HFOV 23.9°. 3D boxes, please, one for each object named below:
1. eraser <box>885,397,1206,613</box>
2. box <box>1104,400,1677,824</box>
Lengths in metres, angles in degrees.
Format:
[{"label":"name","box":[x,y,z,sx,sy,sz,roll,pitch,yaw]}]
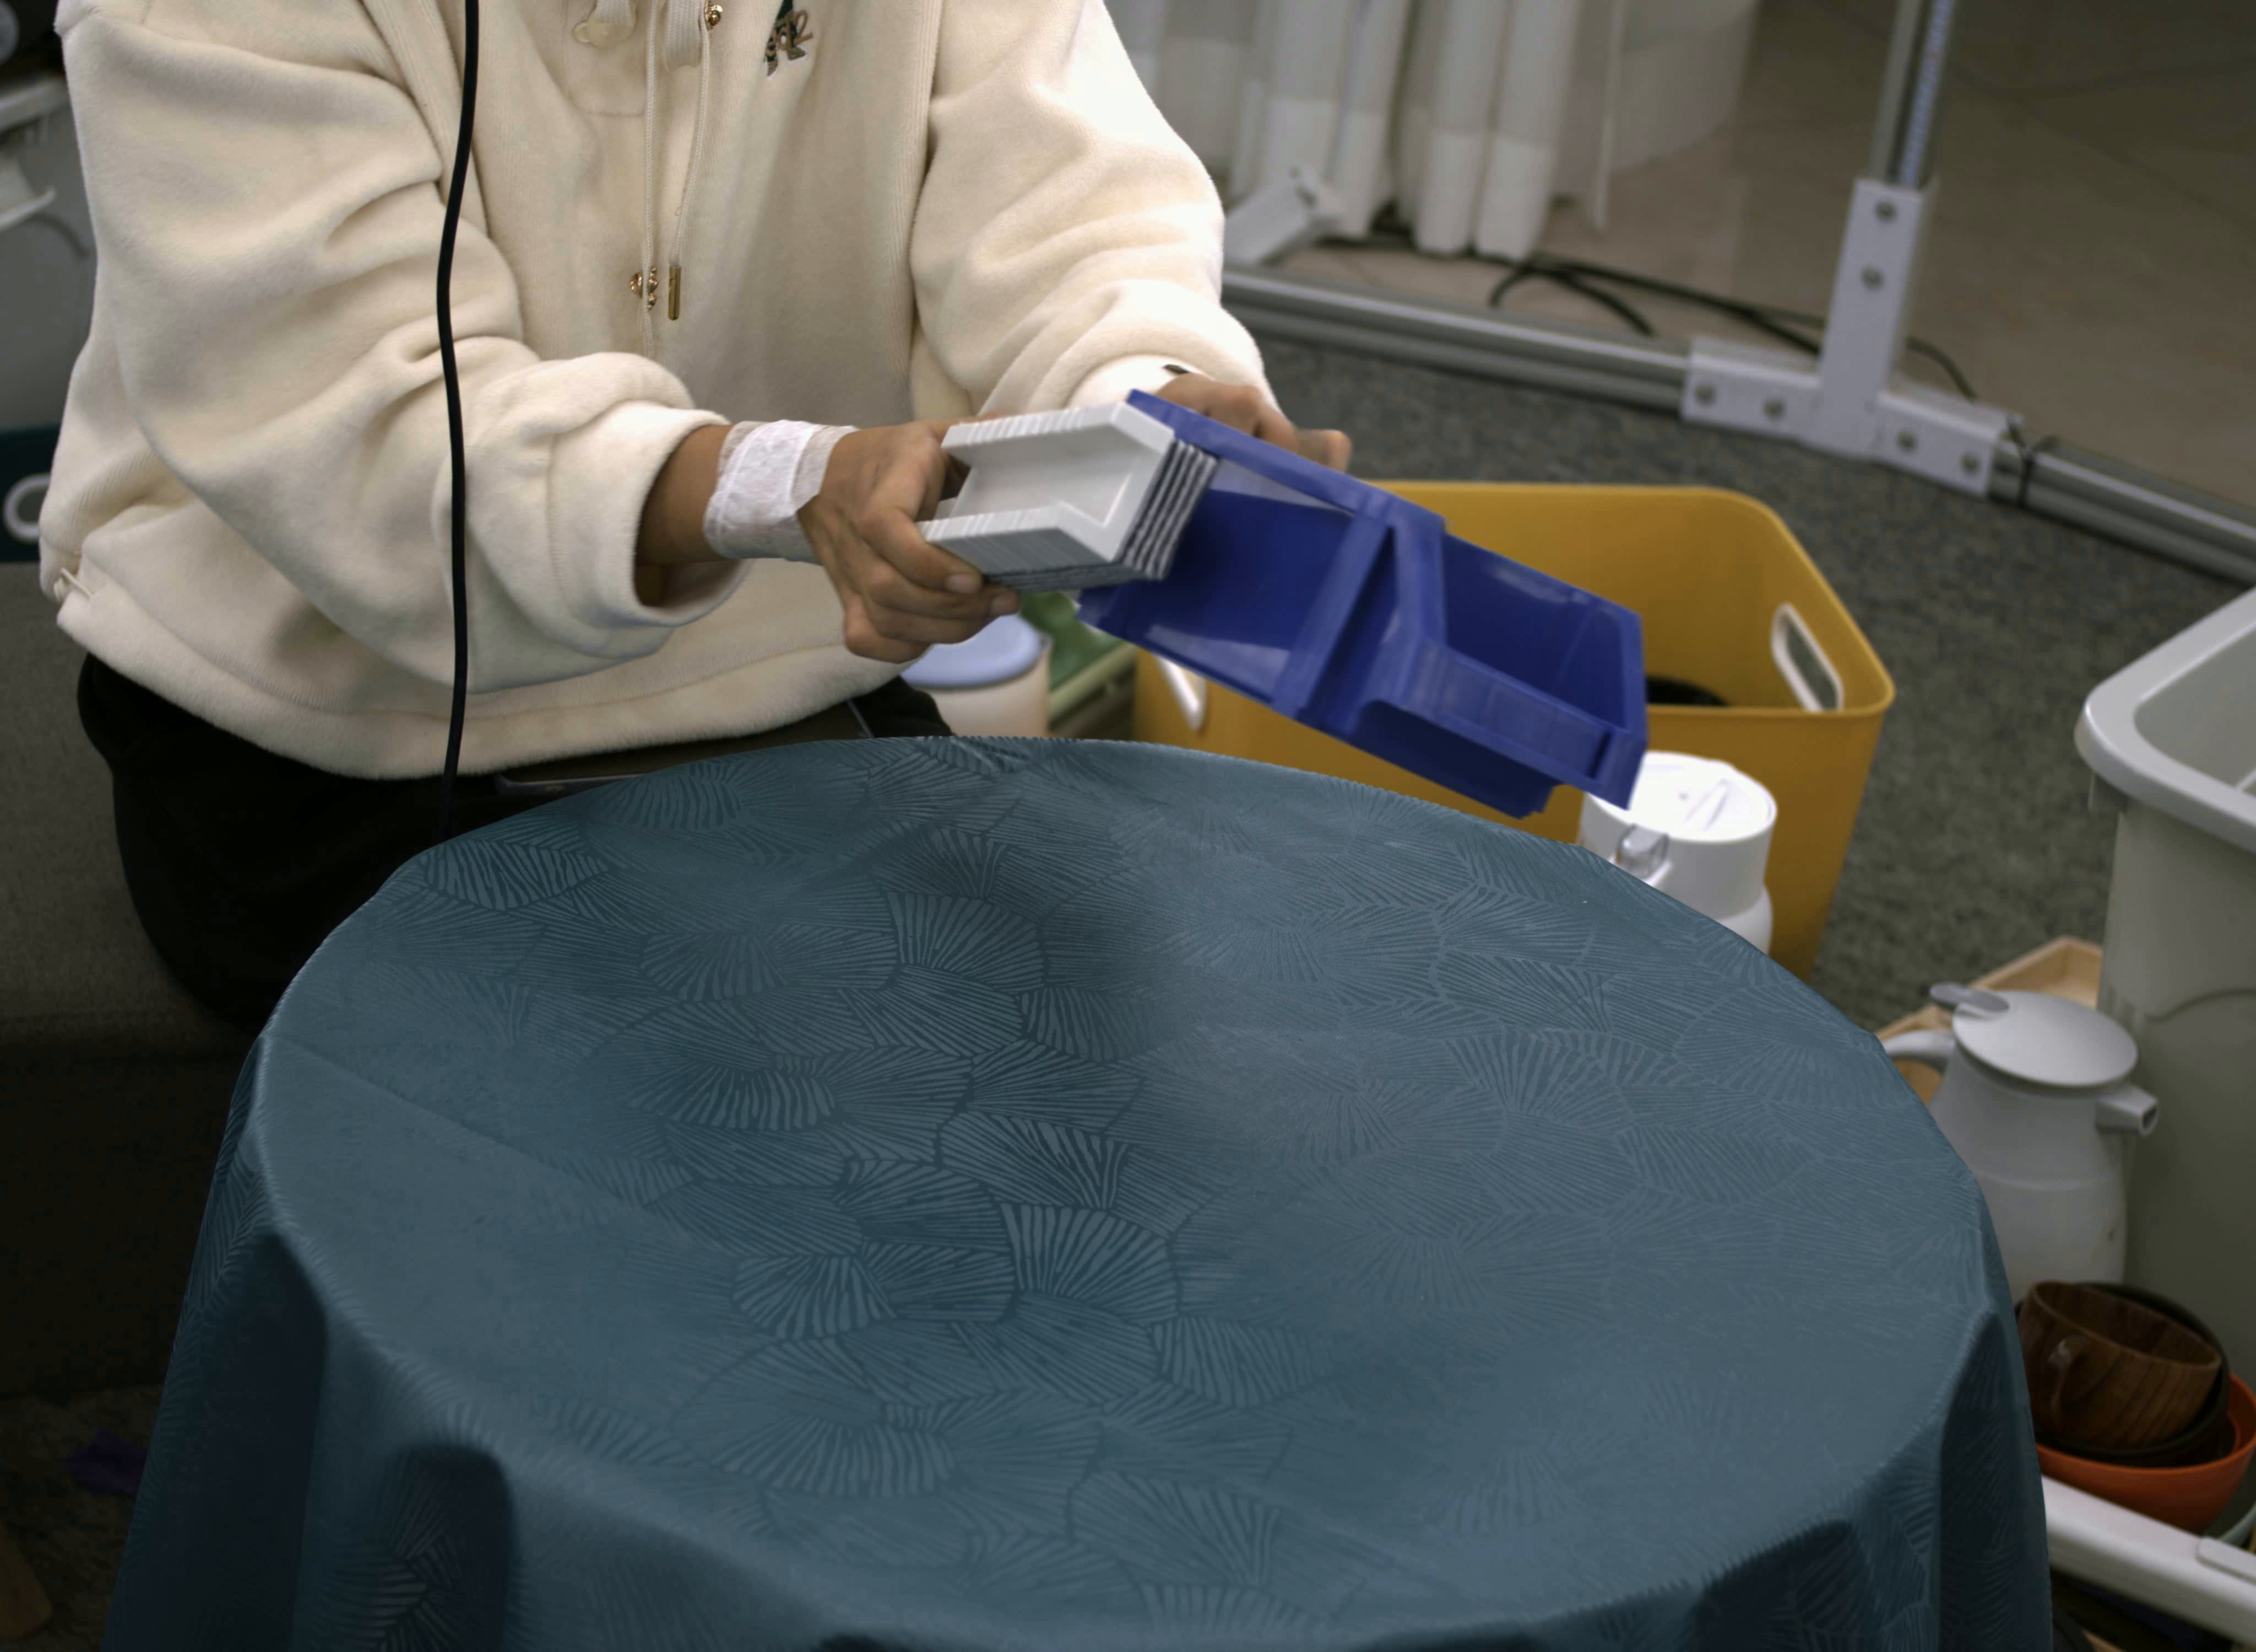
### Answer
[{"label":"eraser","box":[-0.028,-0.106,1.796,0.046,0.050,0.135,31,-16,-24]},{"label":"box","box":[0.090,-0.066,1.779,0.123,0.082,0.181,23,1,-41]}]
